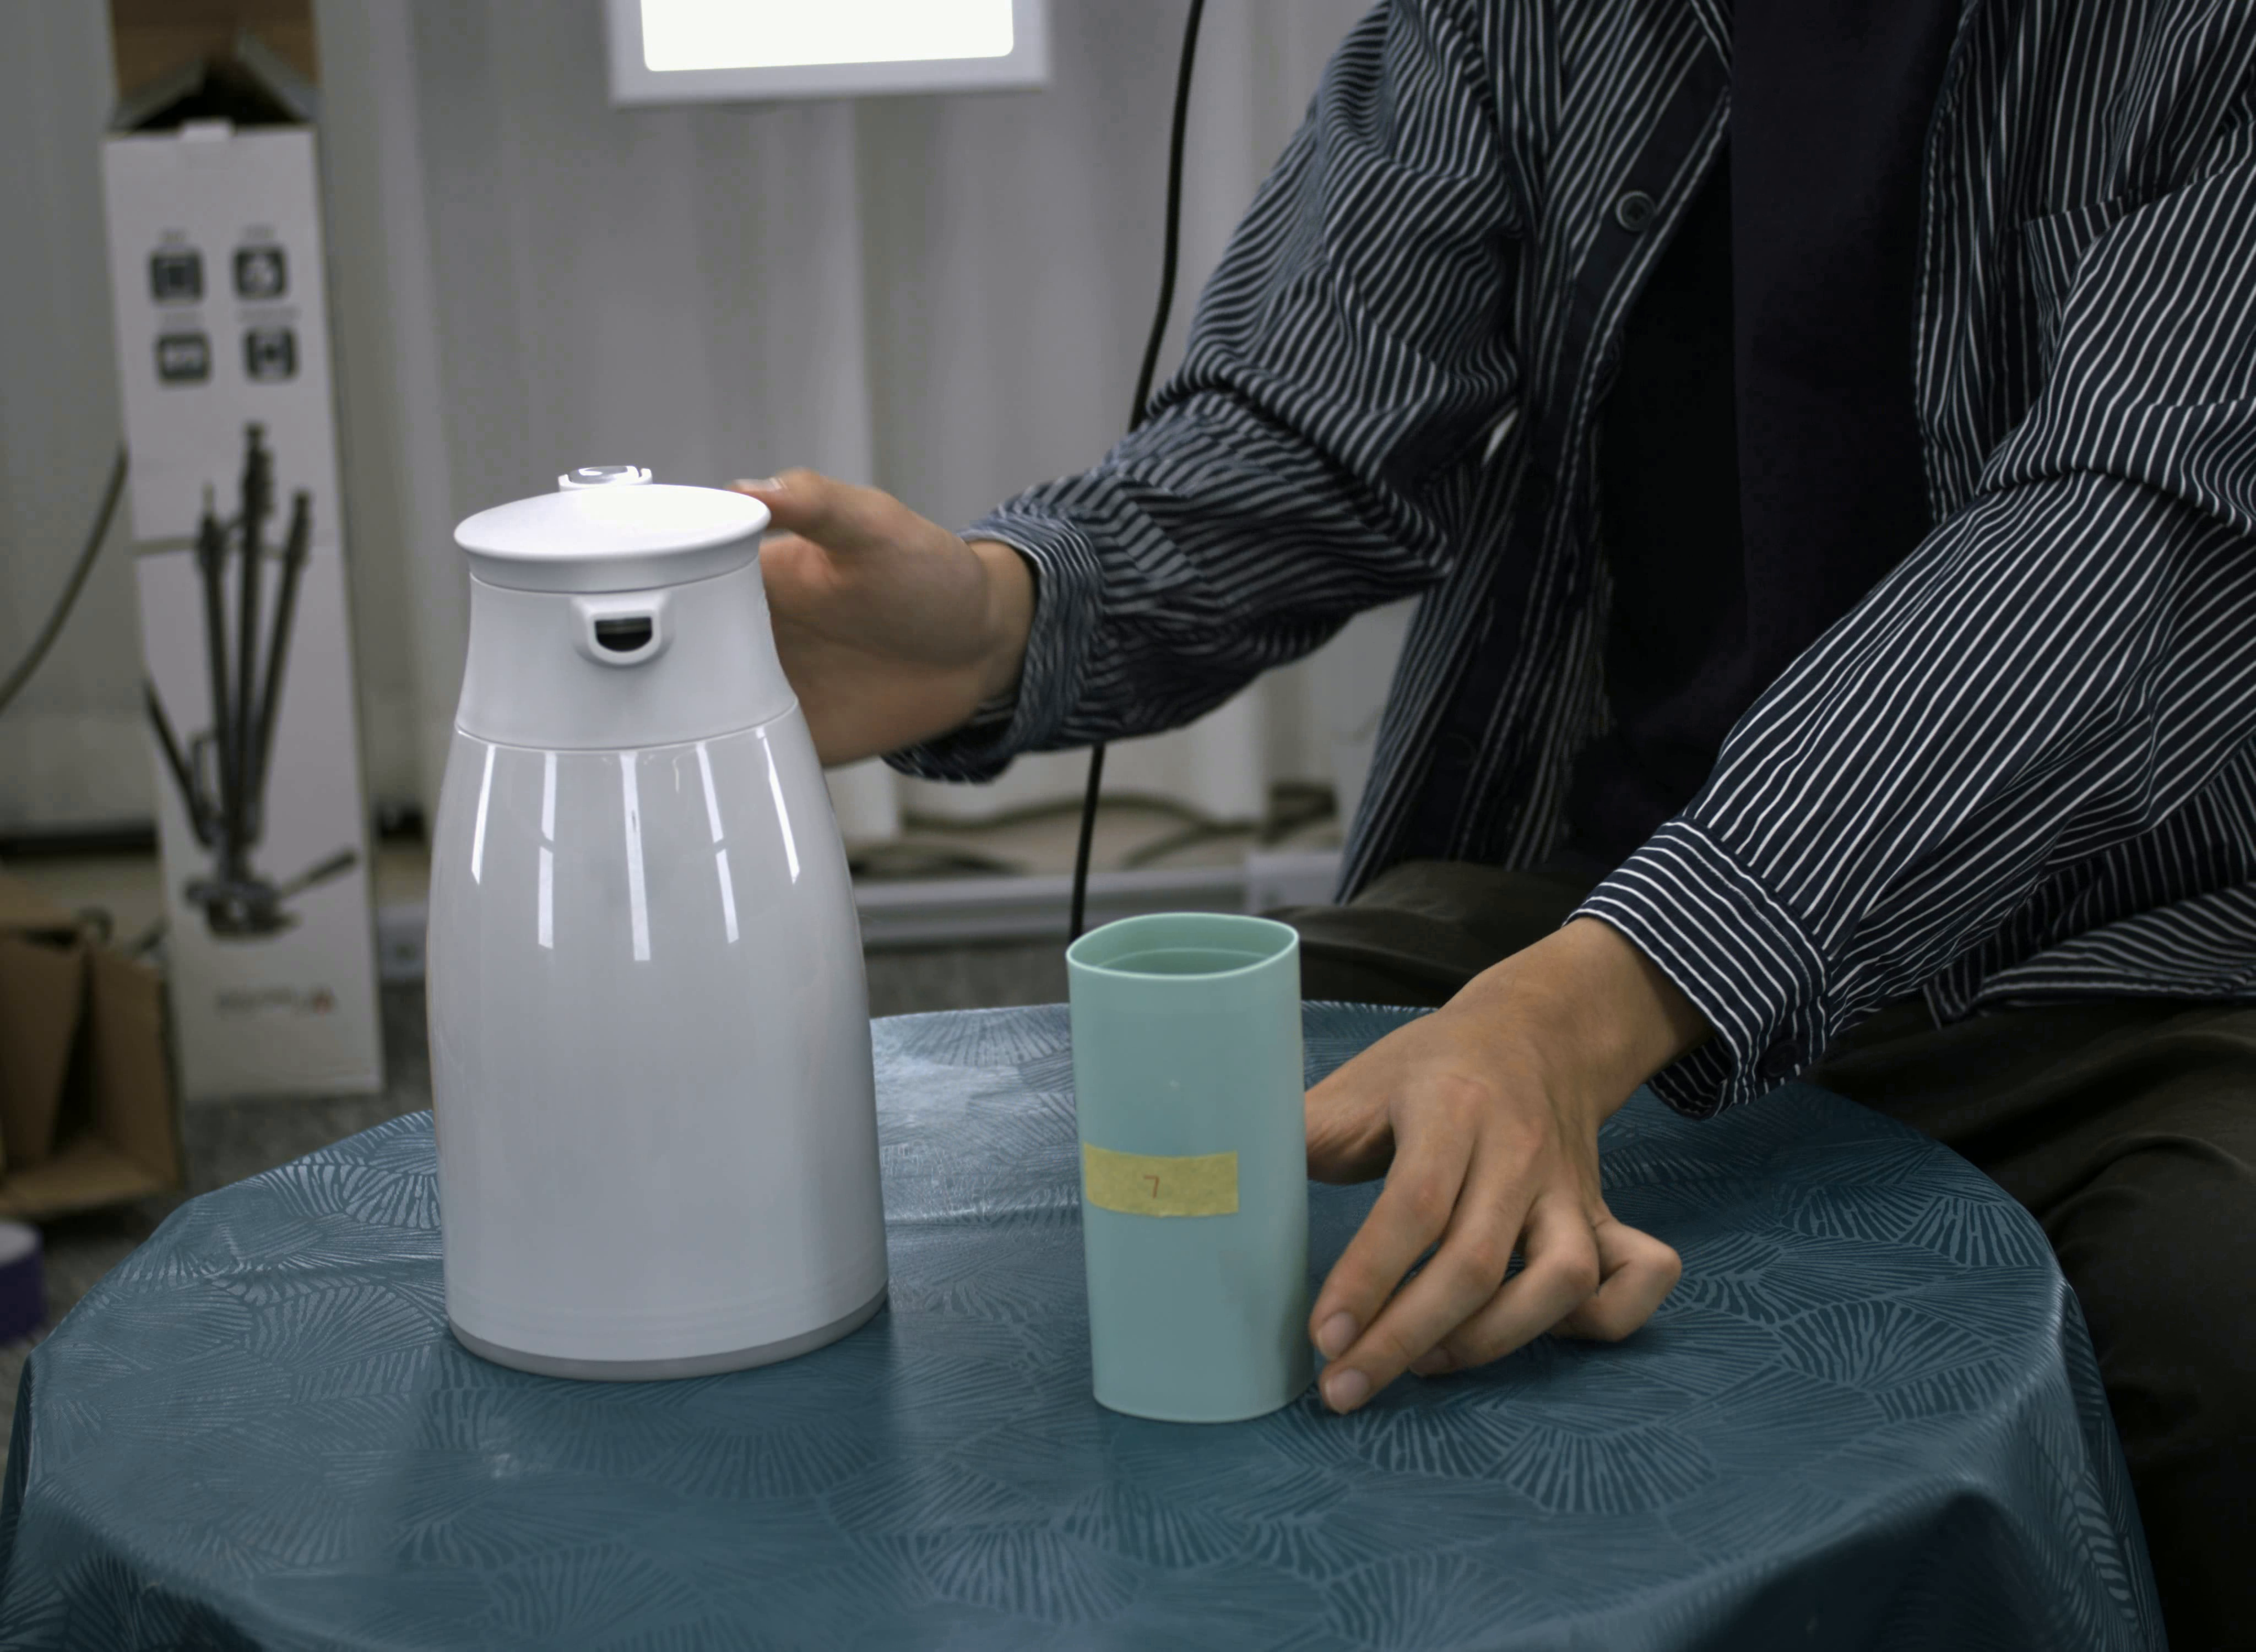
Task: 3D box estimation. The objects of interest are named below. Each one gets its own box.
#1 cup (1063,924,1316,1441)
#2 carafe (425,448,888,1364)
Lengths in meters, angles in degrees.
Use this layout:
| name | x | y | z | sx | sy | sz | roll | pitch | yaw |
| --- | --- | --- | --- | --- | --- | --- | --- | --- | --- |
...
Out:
| name | x | y | z | sx | sy | sz | roll | pitch | yaw |
| --- | --- | --- | --- | --- | --- | --- | --- | --- | --- |
| cup | 0.019 | 0.099 | 1.533 | 0.066 | 0.132 | 0.067 | -3 | 14 | 1 |
| carafe | -0.148 | 0.015 | 1.626 | 0.132 | 0.248 | 0.169 | -6 | 13 | -9 |
